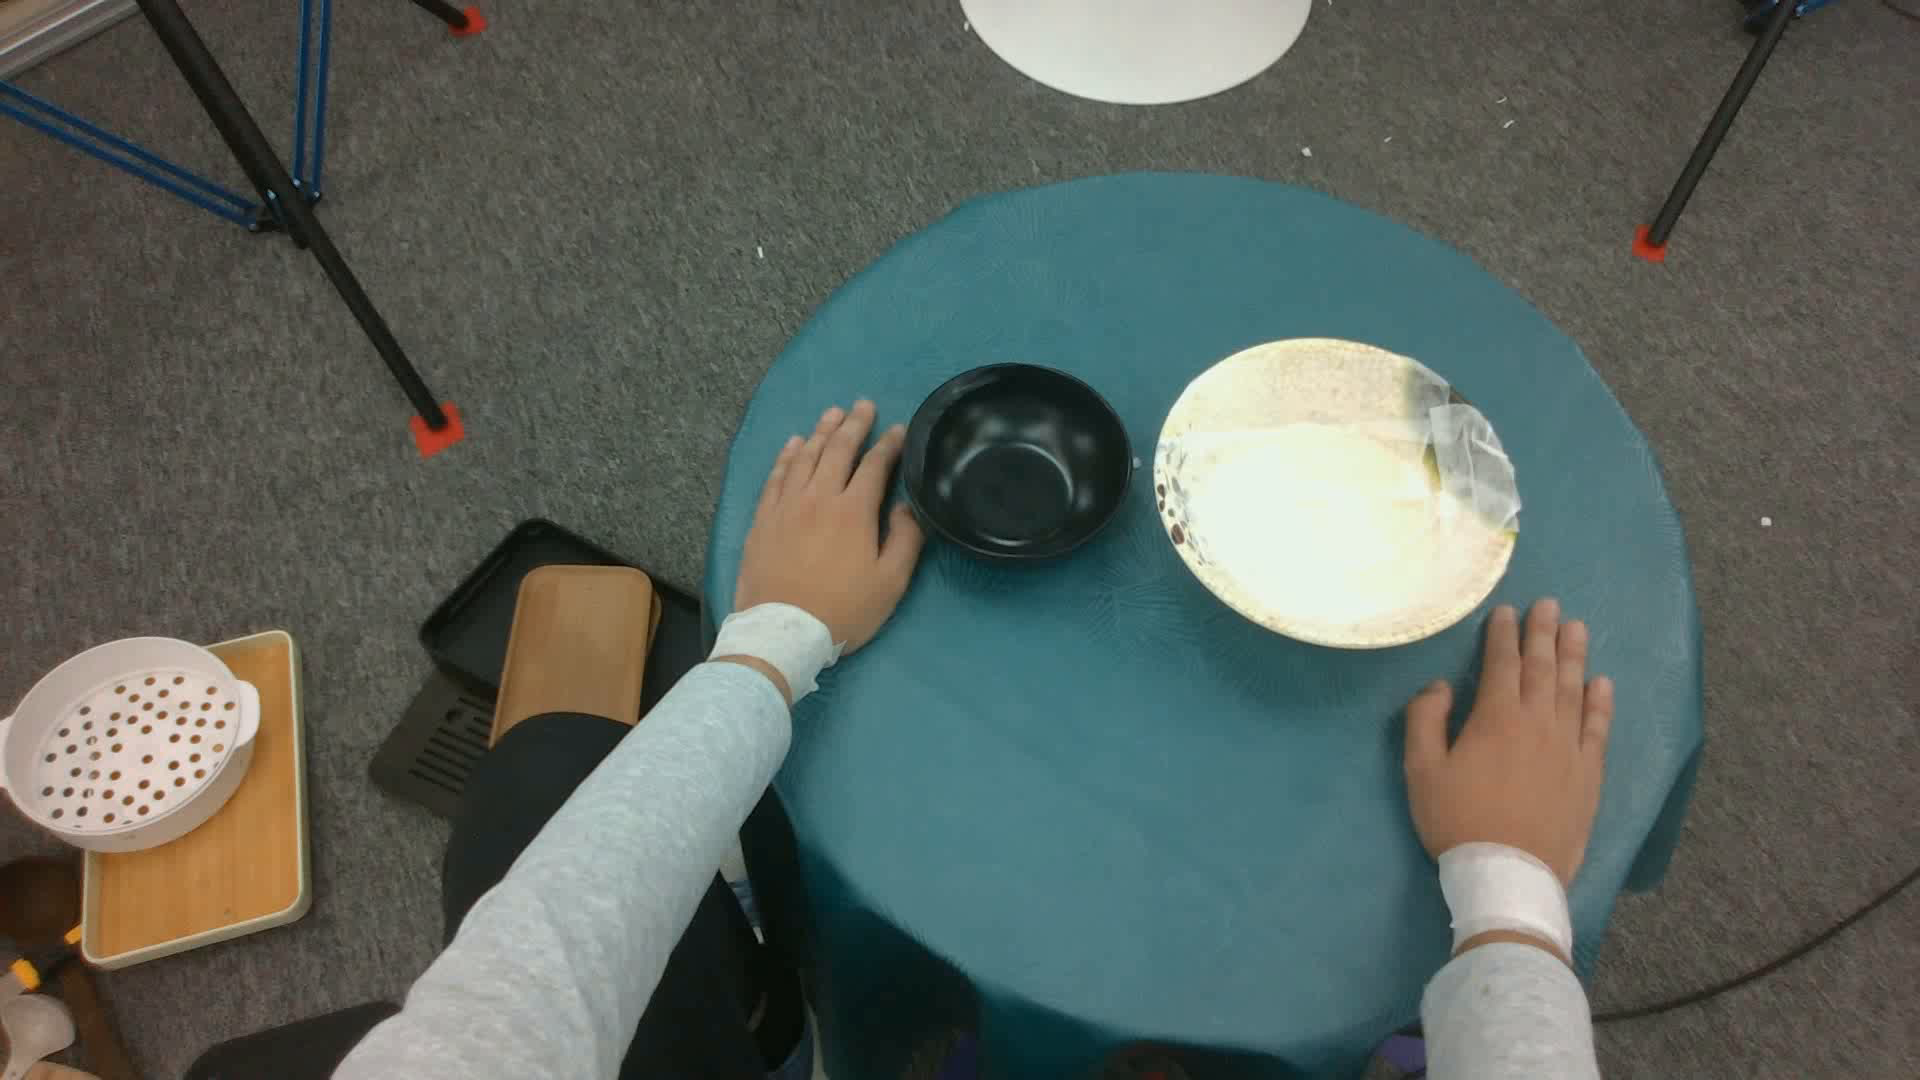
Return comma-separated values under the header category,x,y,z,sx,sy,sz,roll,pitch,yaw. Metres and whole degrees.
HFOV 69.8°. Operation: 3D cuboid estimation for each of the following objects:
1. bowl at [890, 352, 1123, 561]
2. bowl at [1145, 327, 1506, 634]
category,x,y,z,sx,sy,sz,roll,pitch,yaw
bowl,0.028,-0.044,0.840,0.140,0.049,0.140,0,64,1
bowl,0.207,-0.023,0.814,0.204,0.077,0.205,0,62,0
